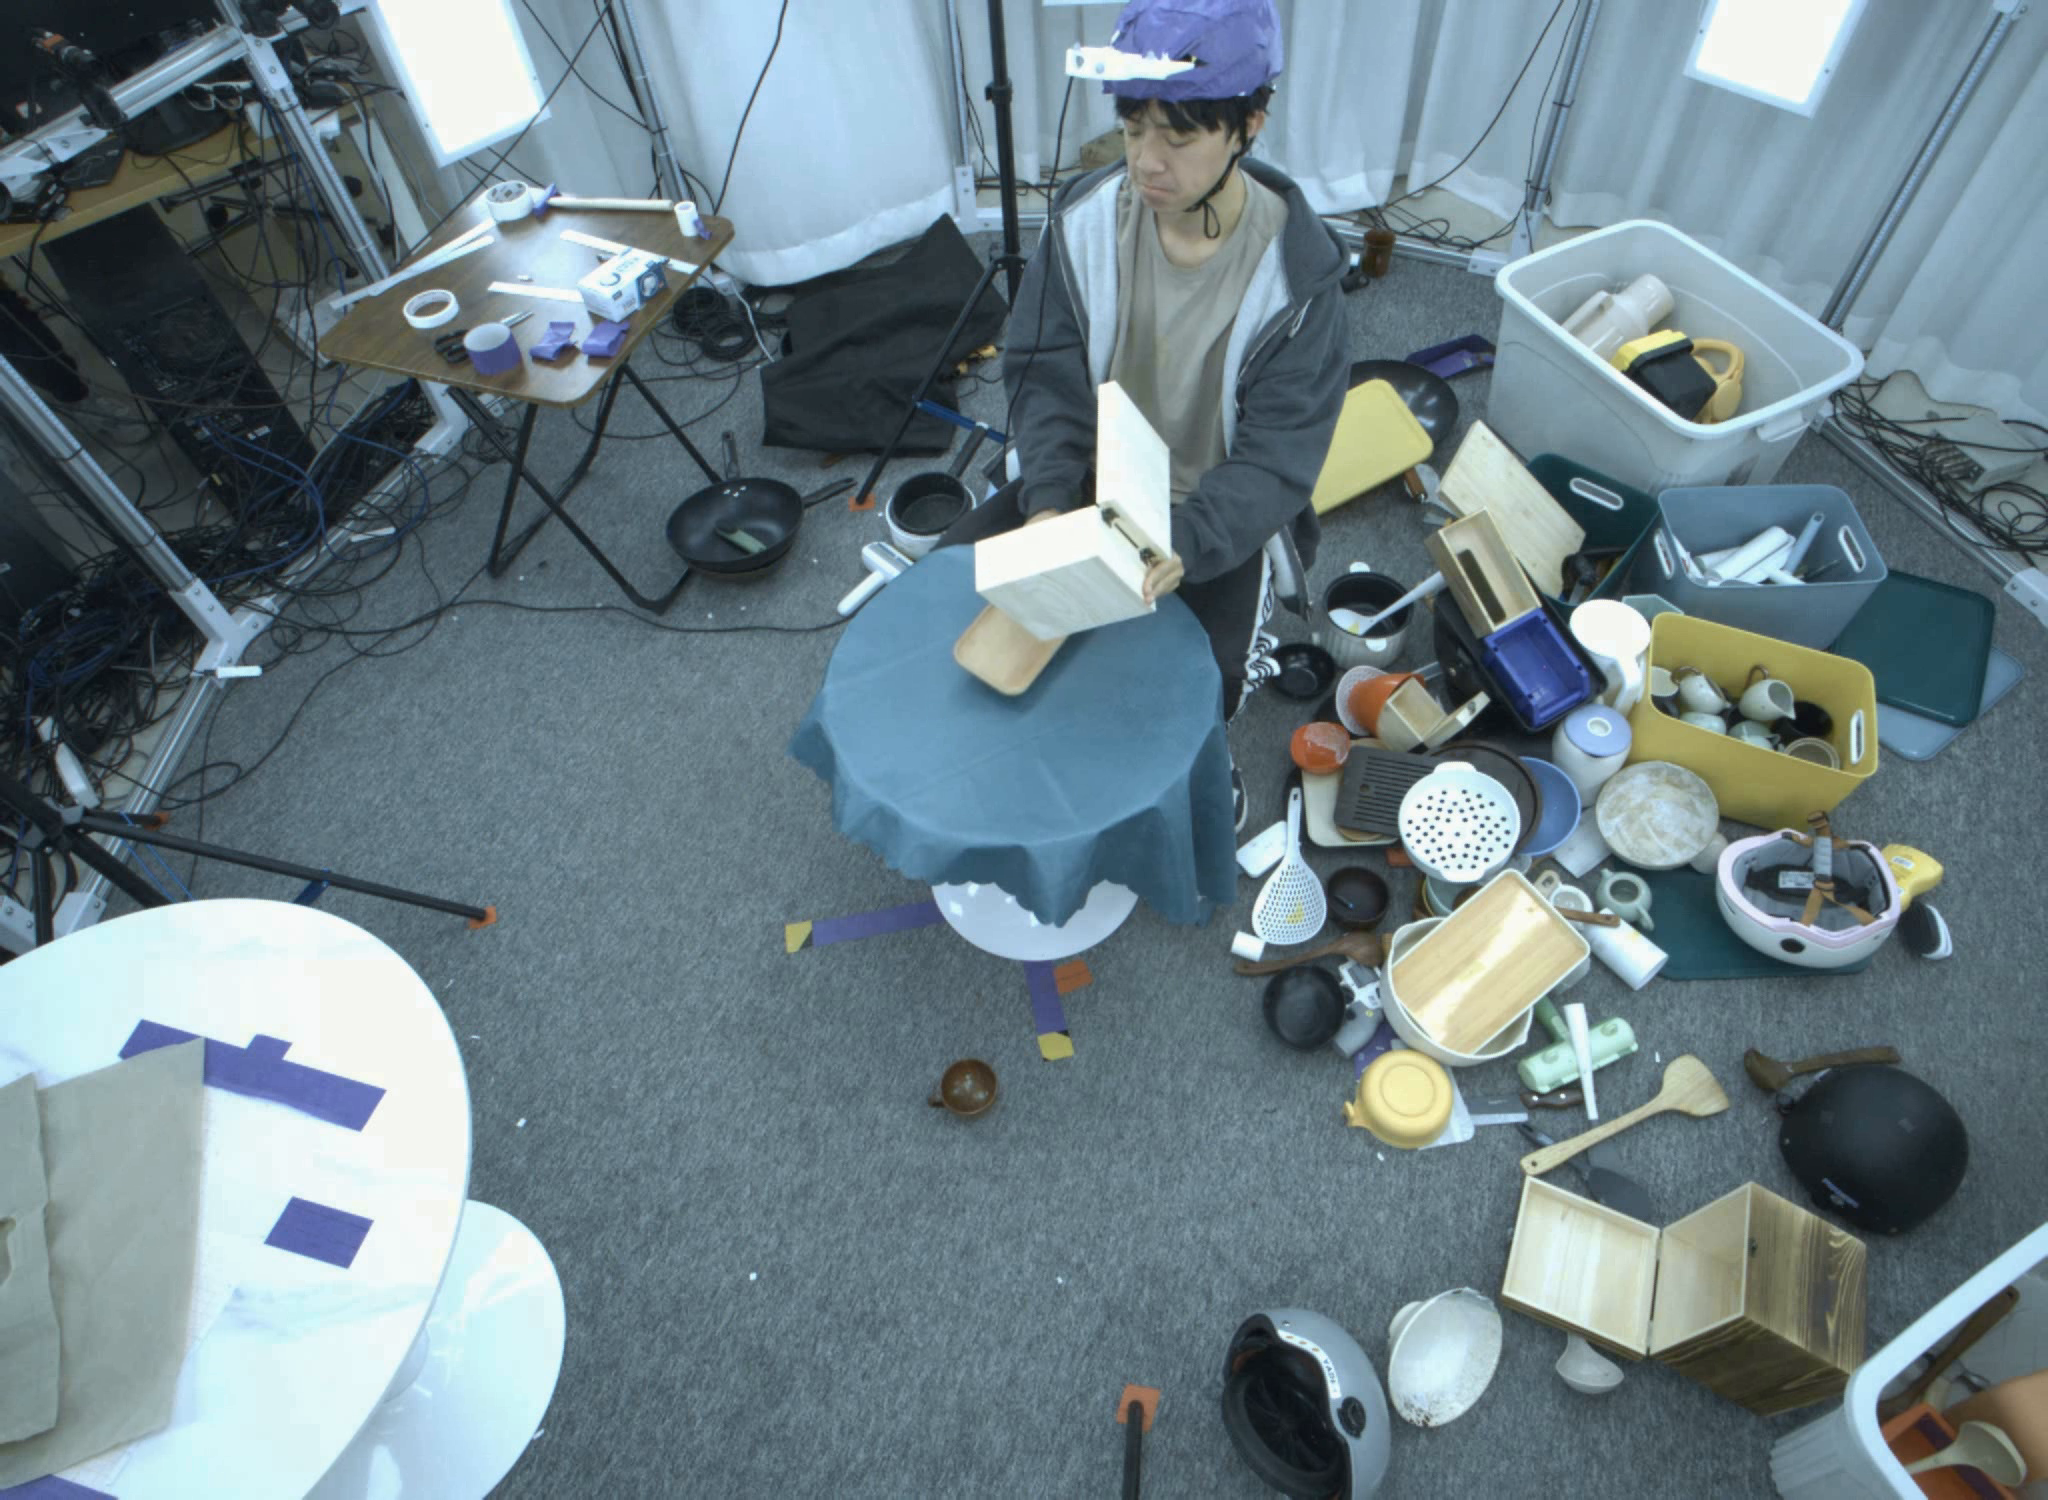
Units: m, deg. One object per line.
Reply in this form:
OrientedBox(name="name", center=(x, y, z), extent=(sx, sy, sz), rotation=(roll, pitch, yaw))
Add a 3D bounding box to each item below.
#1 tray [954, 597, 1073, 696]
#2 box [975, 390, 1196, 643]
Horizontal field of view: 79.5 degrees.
OrientedBox(name="tray", center=(0.004, -0.193, 1.871), extent=(0.130, 0.023, 0.251), rotation=(36, 63, 3))
OrientedBox(name="box", center=(0.087, -0.319, 1.685), extent=(0.261, 0.186, 0.251), rotation=(-11, 66, 25))
